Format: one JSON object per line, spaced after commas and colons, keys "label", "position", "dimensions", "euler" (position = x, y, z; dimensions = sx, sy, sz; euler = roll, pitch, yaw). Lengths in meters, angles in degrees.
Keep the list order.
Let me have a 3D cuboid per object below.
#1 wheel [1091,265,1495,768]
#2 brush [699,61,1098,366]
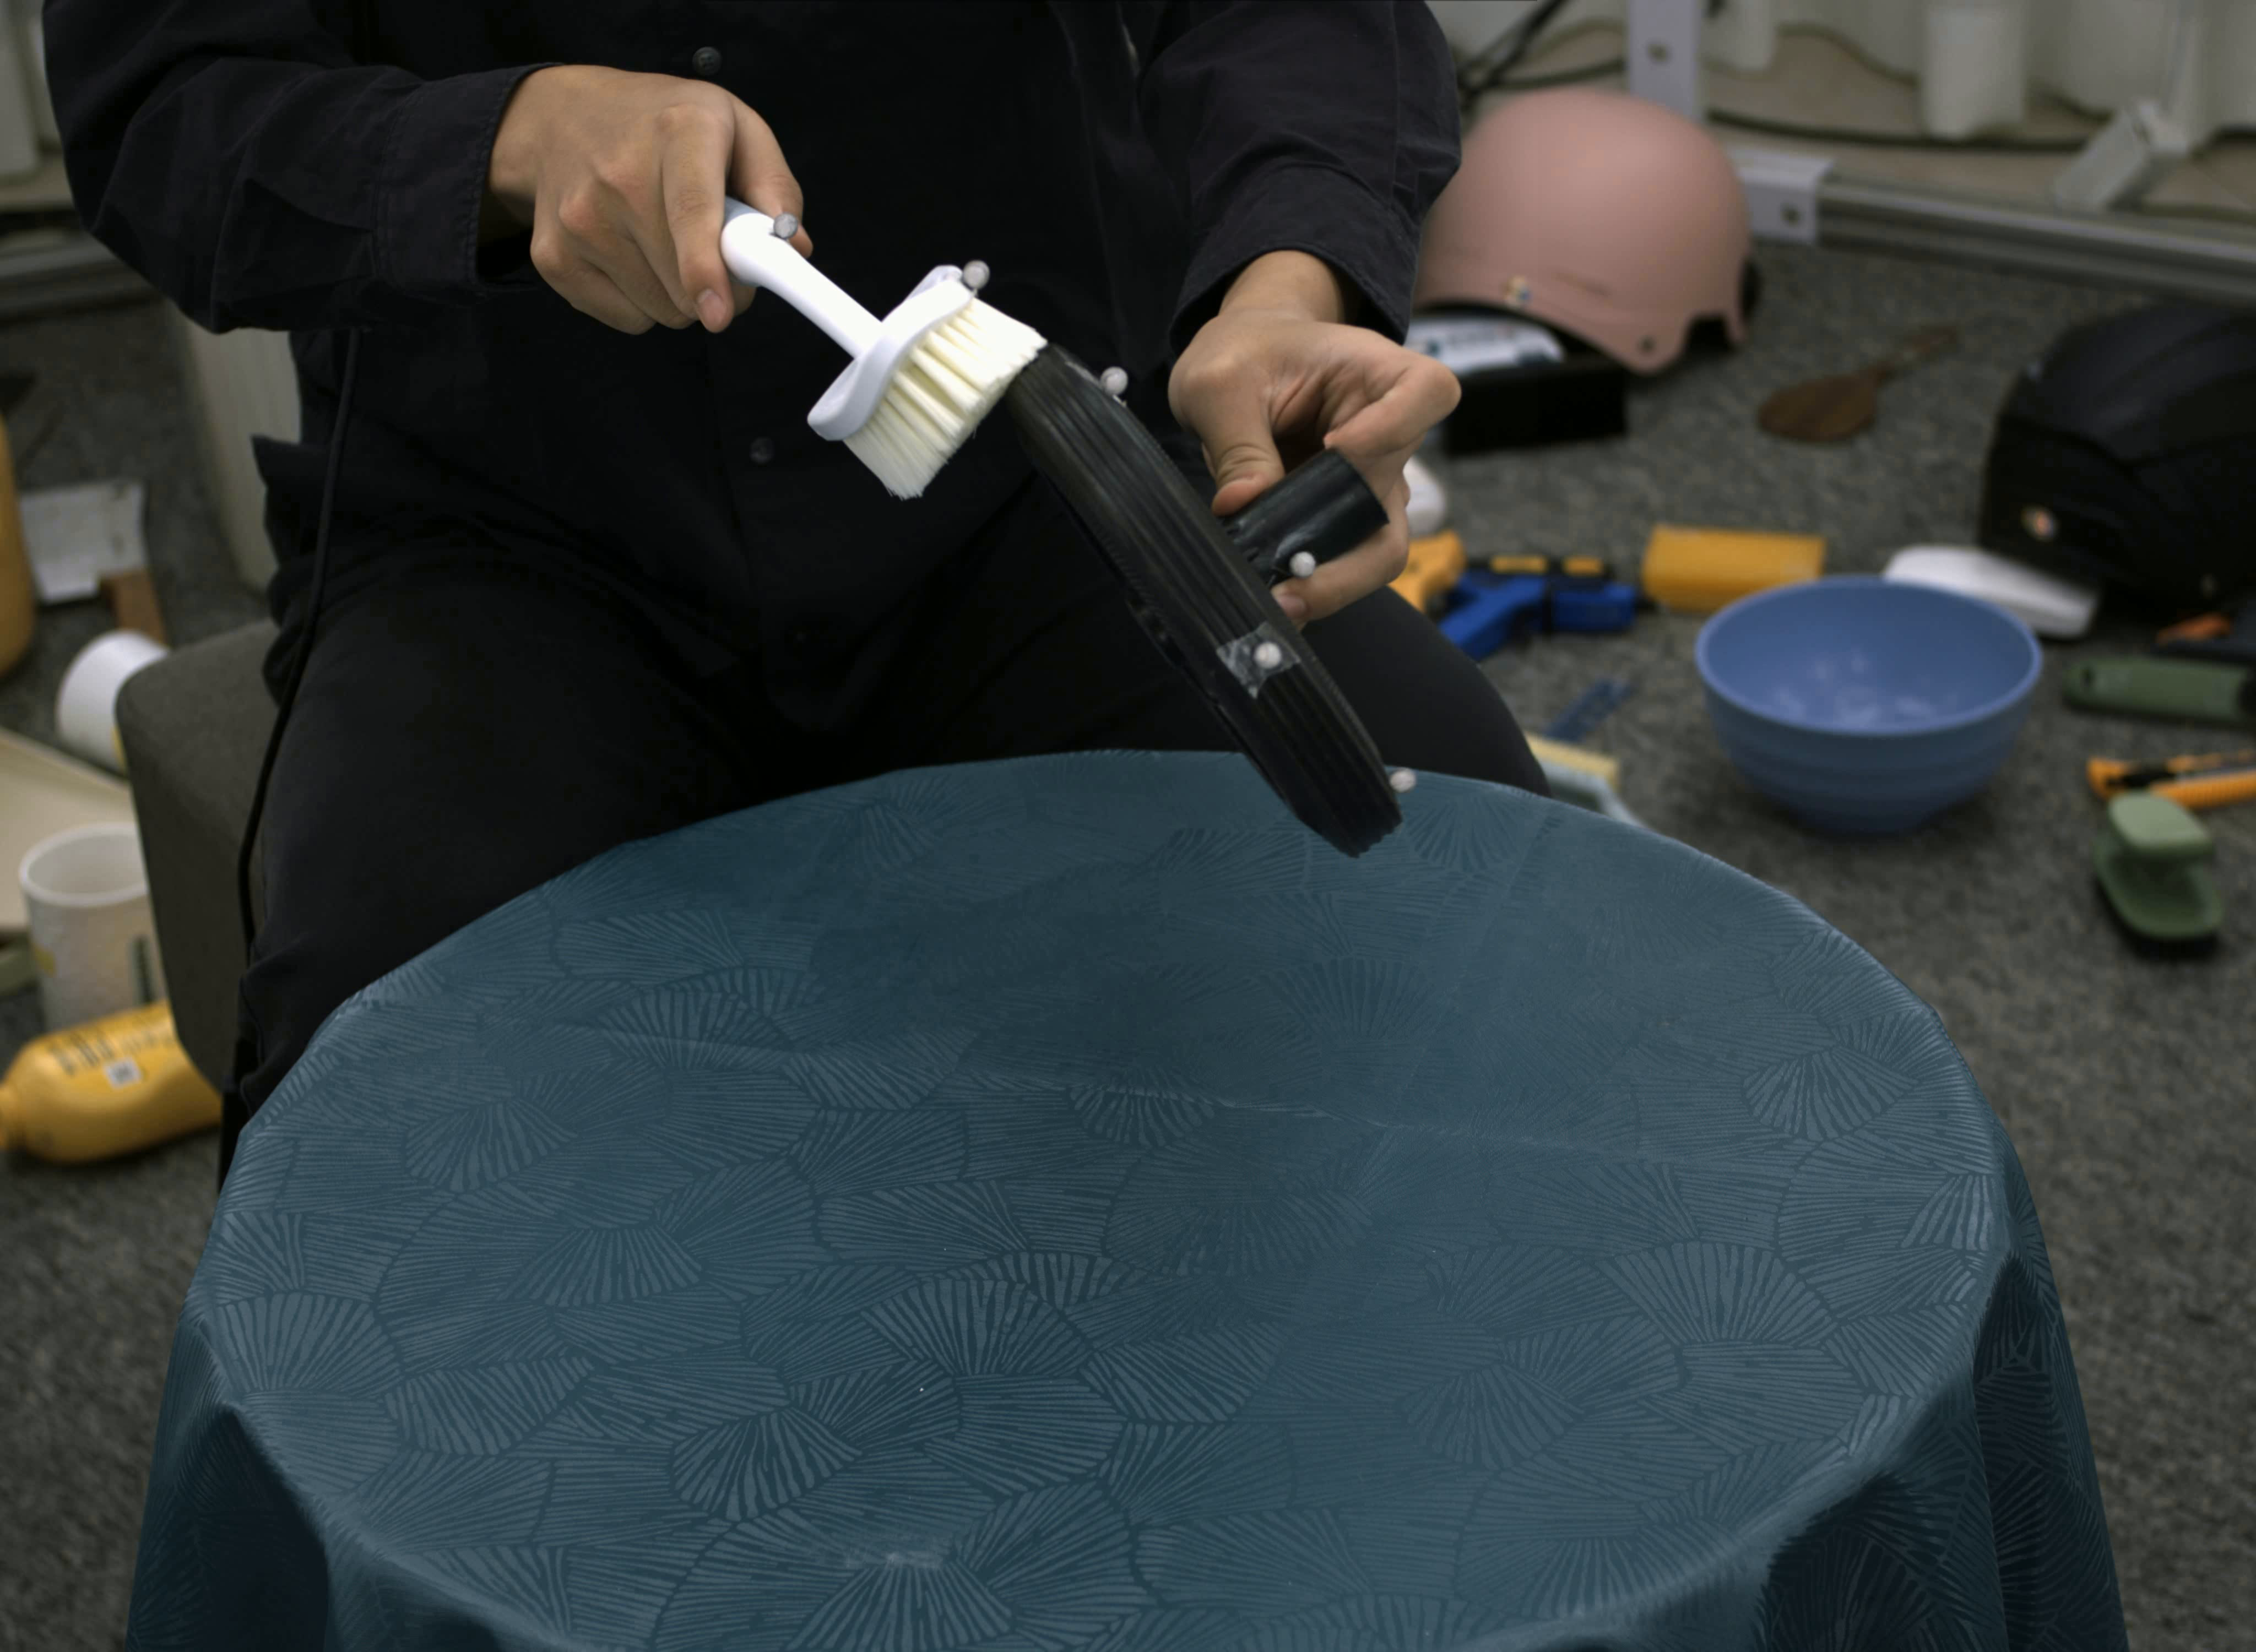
{"label": "wheel", "position": [0.069, -0.111, 1.781], "dimensions": [0.079, 0.185, 0.192], "euler": [-38, 46, -1]}
{"label": "brush", "position": [-0.068, -0.207, 1.882], "dimensions": [0.083, 0.084, 0.326], "euler": [-17, 17, -12]}
